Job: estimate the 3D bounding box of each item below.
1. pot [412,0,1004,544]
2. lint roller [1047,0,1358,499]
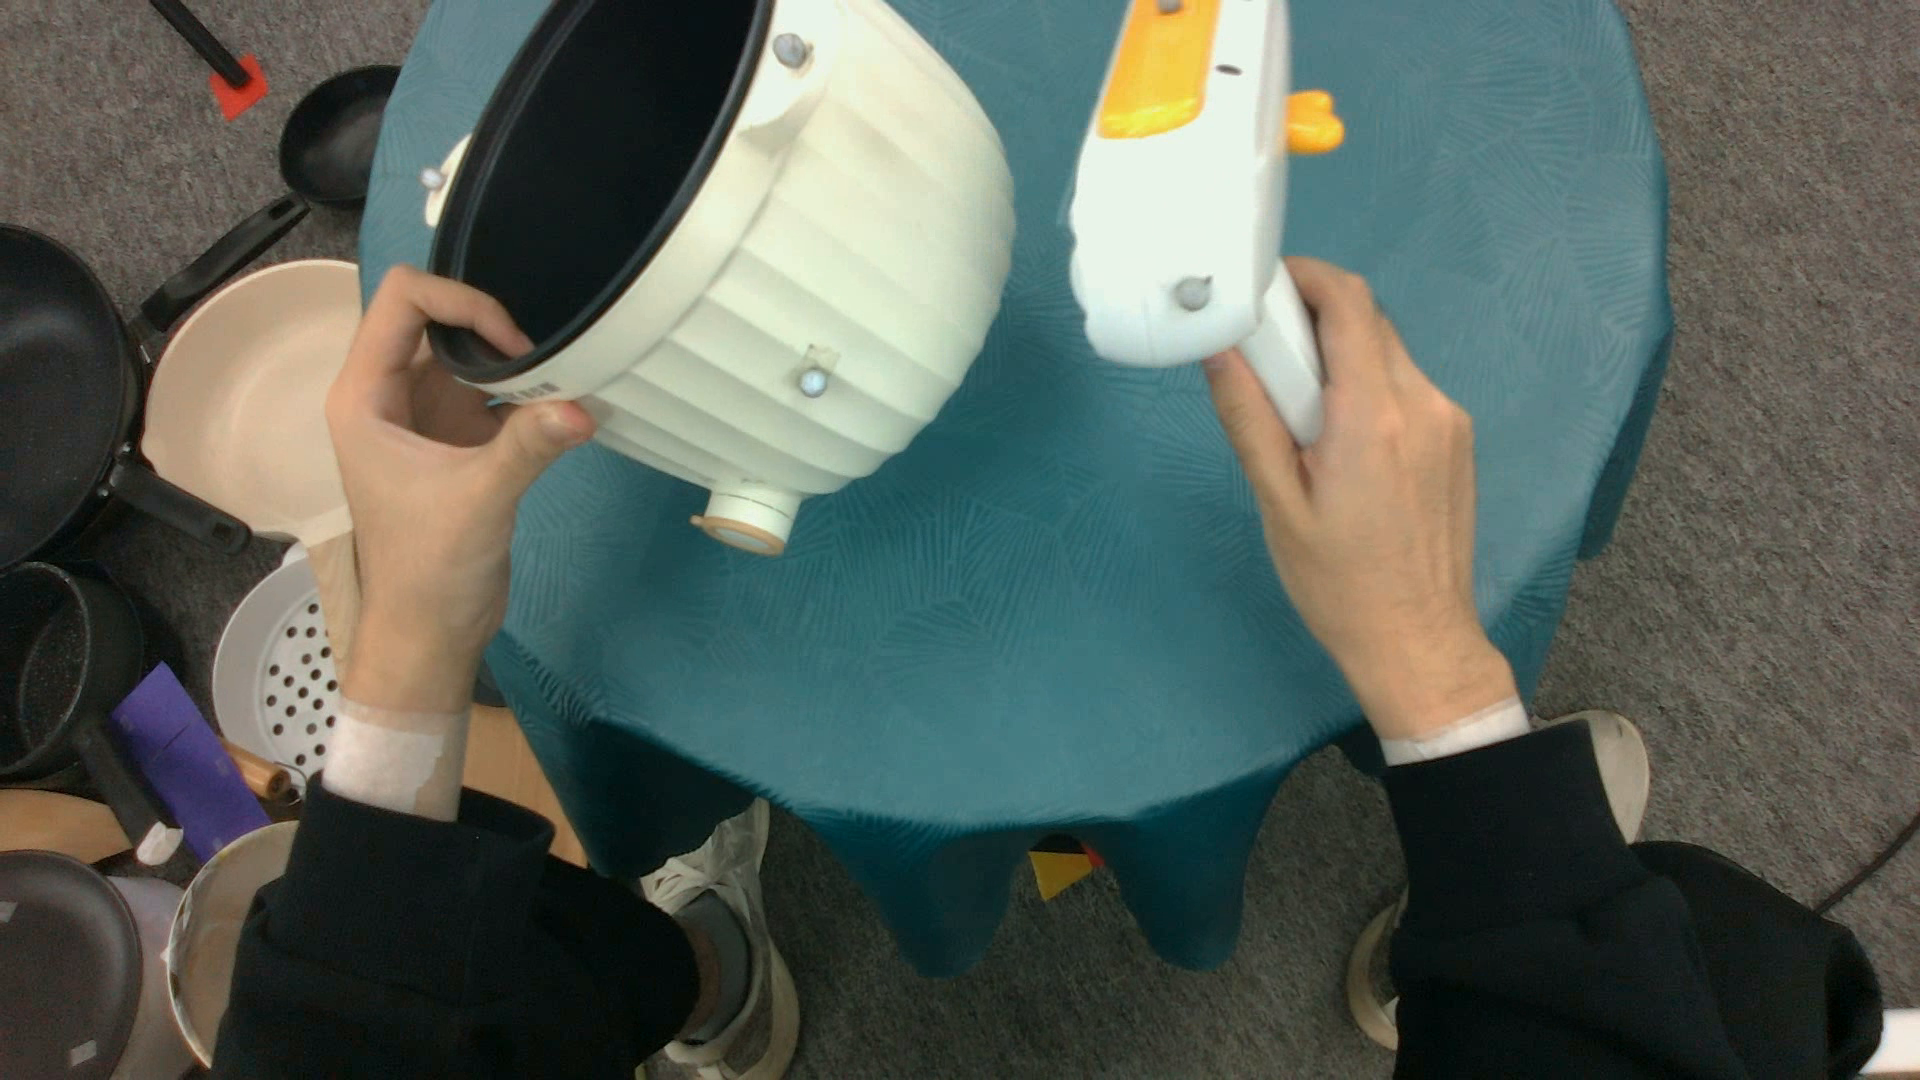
[{"bbox_3d":[-0.081,-0.107,0.483,0.240,0.142,0.191,1,66,45],"label":"pot"},{"bbox_3d":[0.087,-0.084,0.456,0.074,0.192,0.194,-13,40,16],"label":"lint roller"}]
